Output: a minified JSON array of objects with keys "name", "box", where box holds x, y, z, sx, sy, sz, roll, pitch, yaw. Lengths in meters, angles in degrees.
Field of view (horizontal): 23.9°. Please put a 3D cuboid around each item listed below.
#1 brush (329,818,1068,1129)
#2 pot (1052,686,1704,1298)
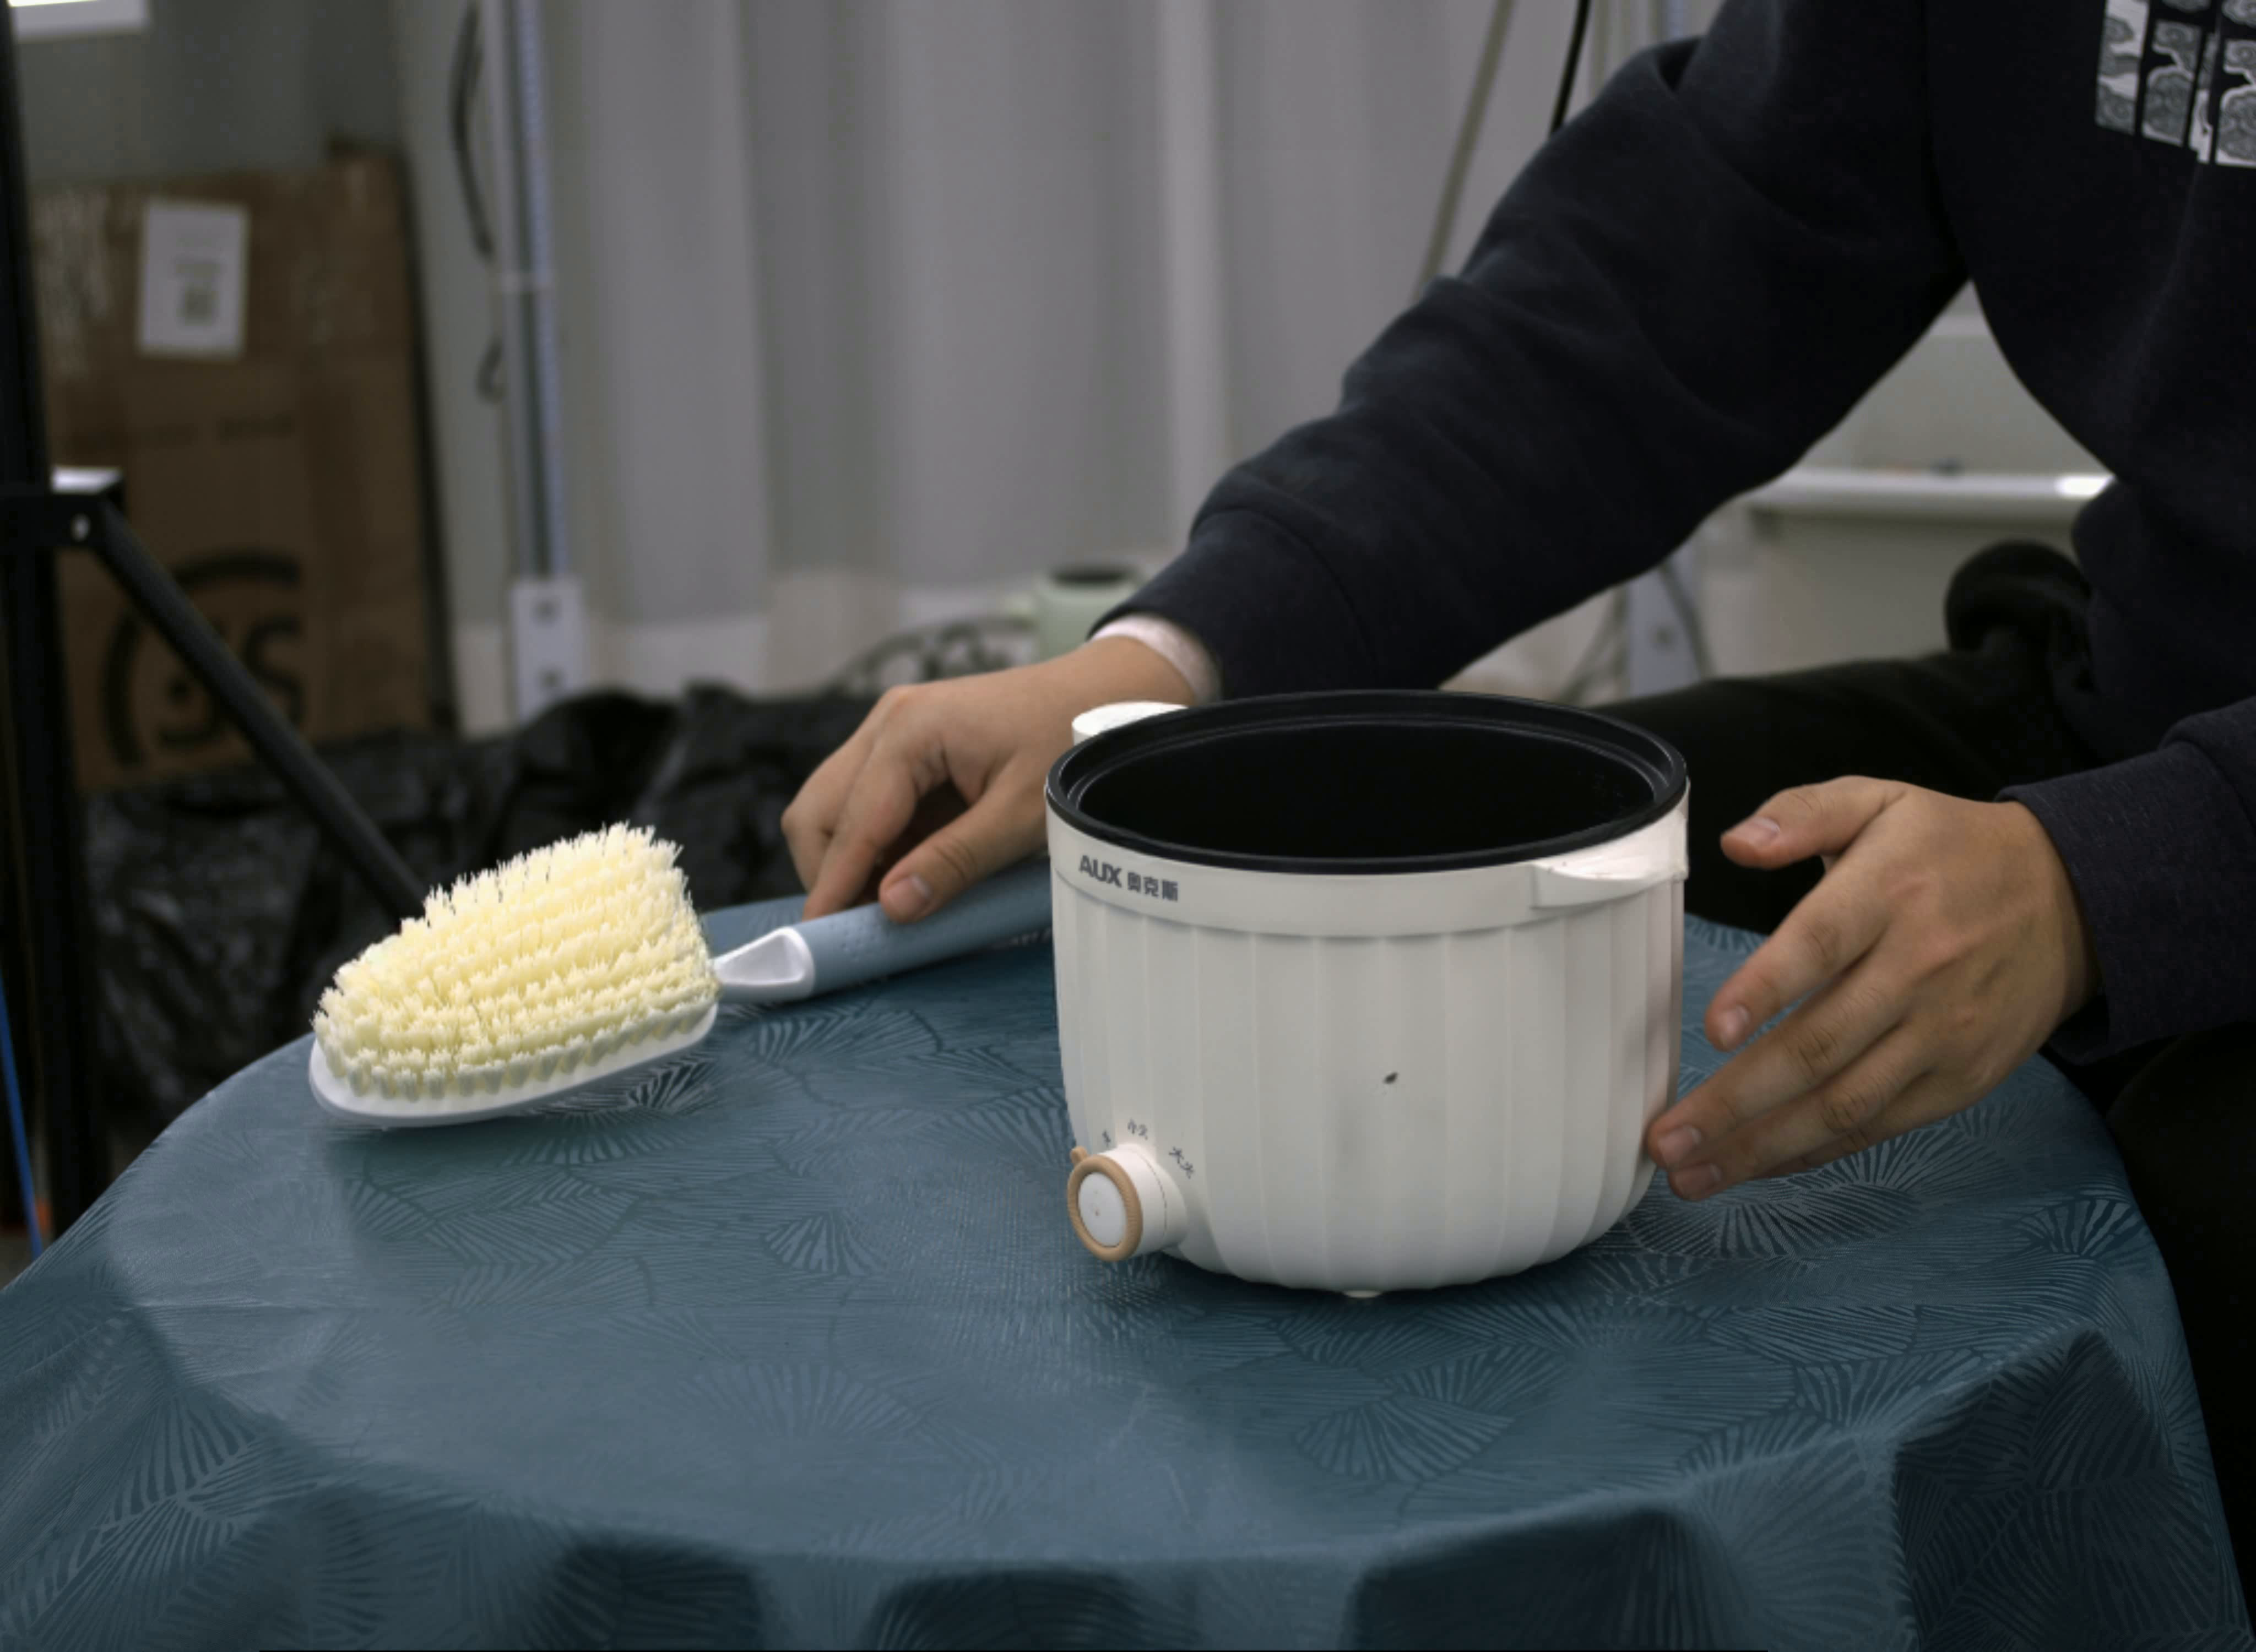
[{"name":"brush","box":[-0.110,0.027,1.708,0.318,0.083,0.086,-15,15,-34]},{"name":"pot","box":[0.066,0.049,1.501,0.186,0.143,0.246,-10,16,-38]}]
